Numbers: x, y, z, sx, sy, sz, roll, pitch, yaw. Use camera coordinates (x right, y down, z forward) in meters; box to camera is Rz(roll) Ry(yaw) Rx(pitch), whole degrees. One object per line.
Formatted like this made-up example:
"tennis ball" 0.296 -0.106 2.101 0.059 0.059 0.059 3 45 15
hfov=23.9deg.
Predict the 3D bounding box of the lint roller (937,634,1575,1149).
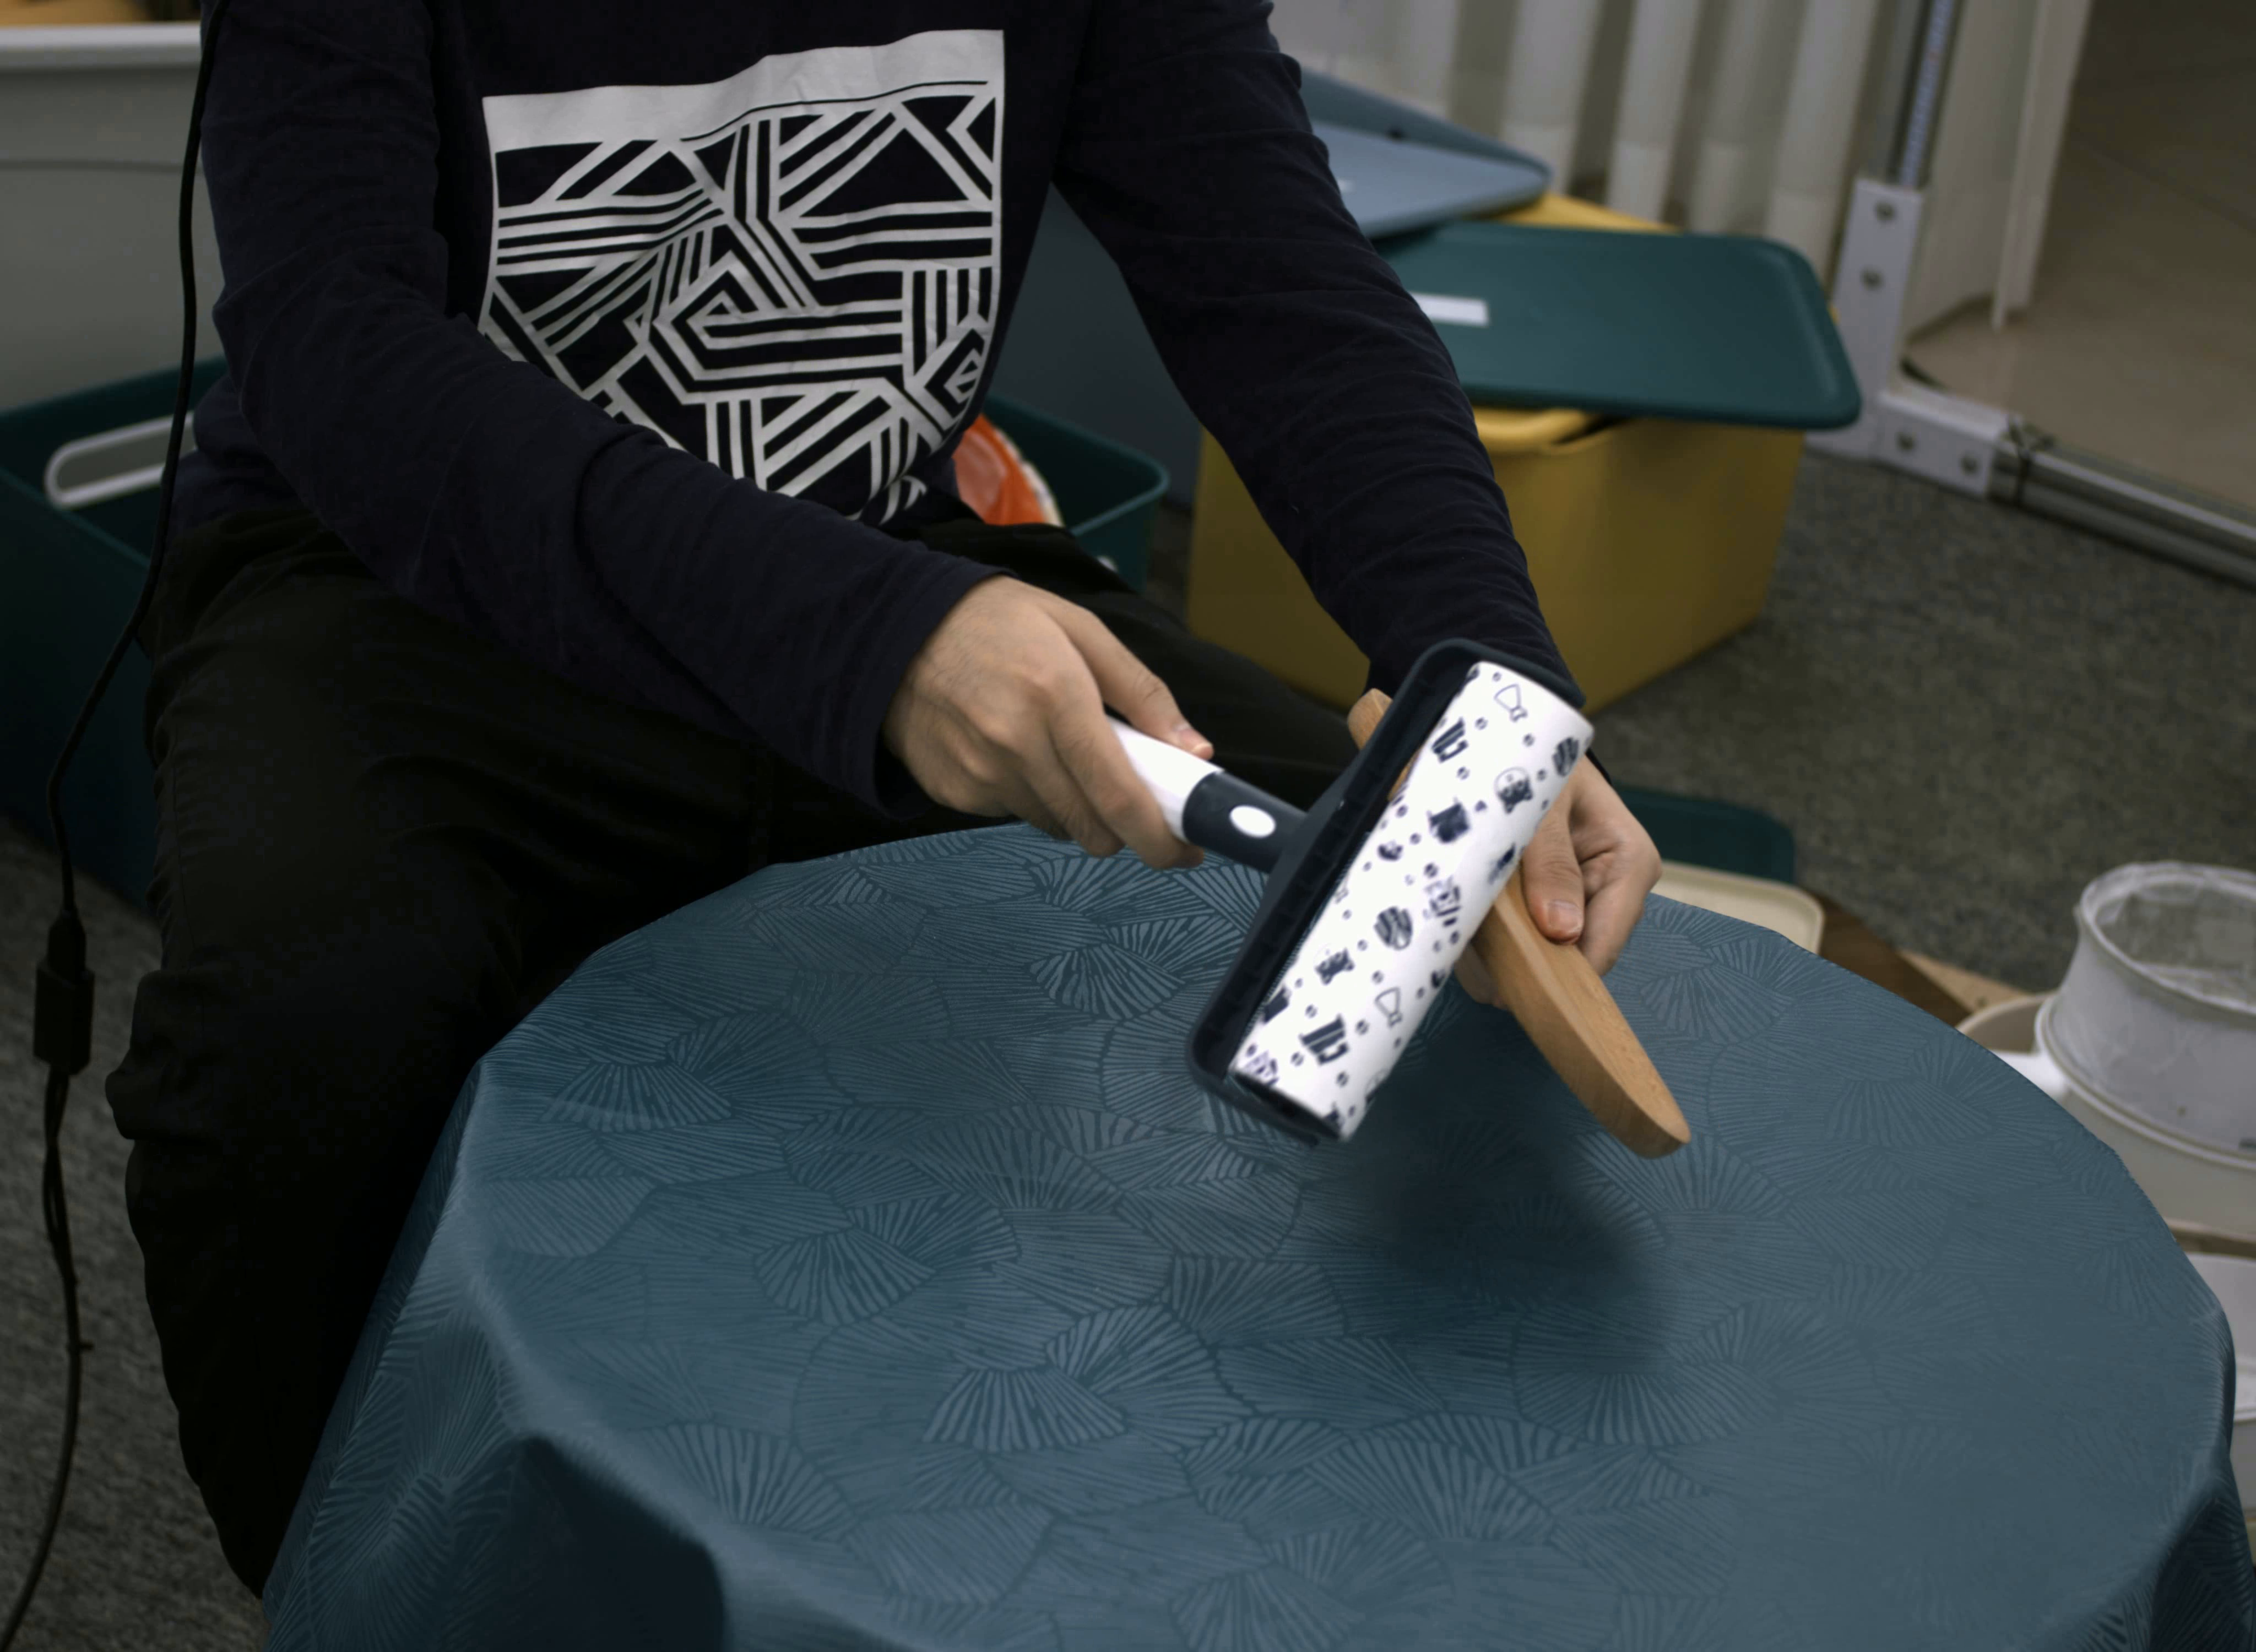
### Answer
"lint roller" 0.018 -0.008 1.812 0.249 0.176 0.050 24 -10 39

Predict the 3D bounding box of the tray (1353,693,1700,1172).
"tray" 0.134 0.035 1.826 0.101 0.020 0.233 41 15 -39
